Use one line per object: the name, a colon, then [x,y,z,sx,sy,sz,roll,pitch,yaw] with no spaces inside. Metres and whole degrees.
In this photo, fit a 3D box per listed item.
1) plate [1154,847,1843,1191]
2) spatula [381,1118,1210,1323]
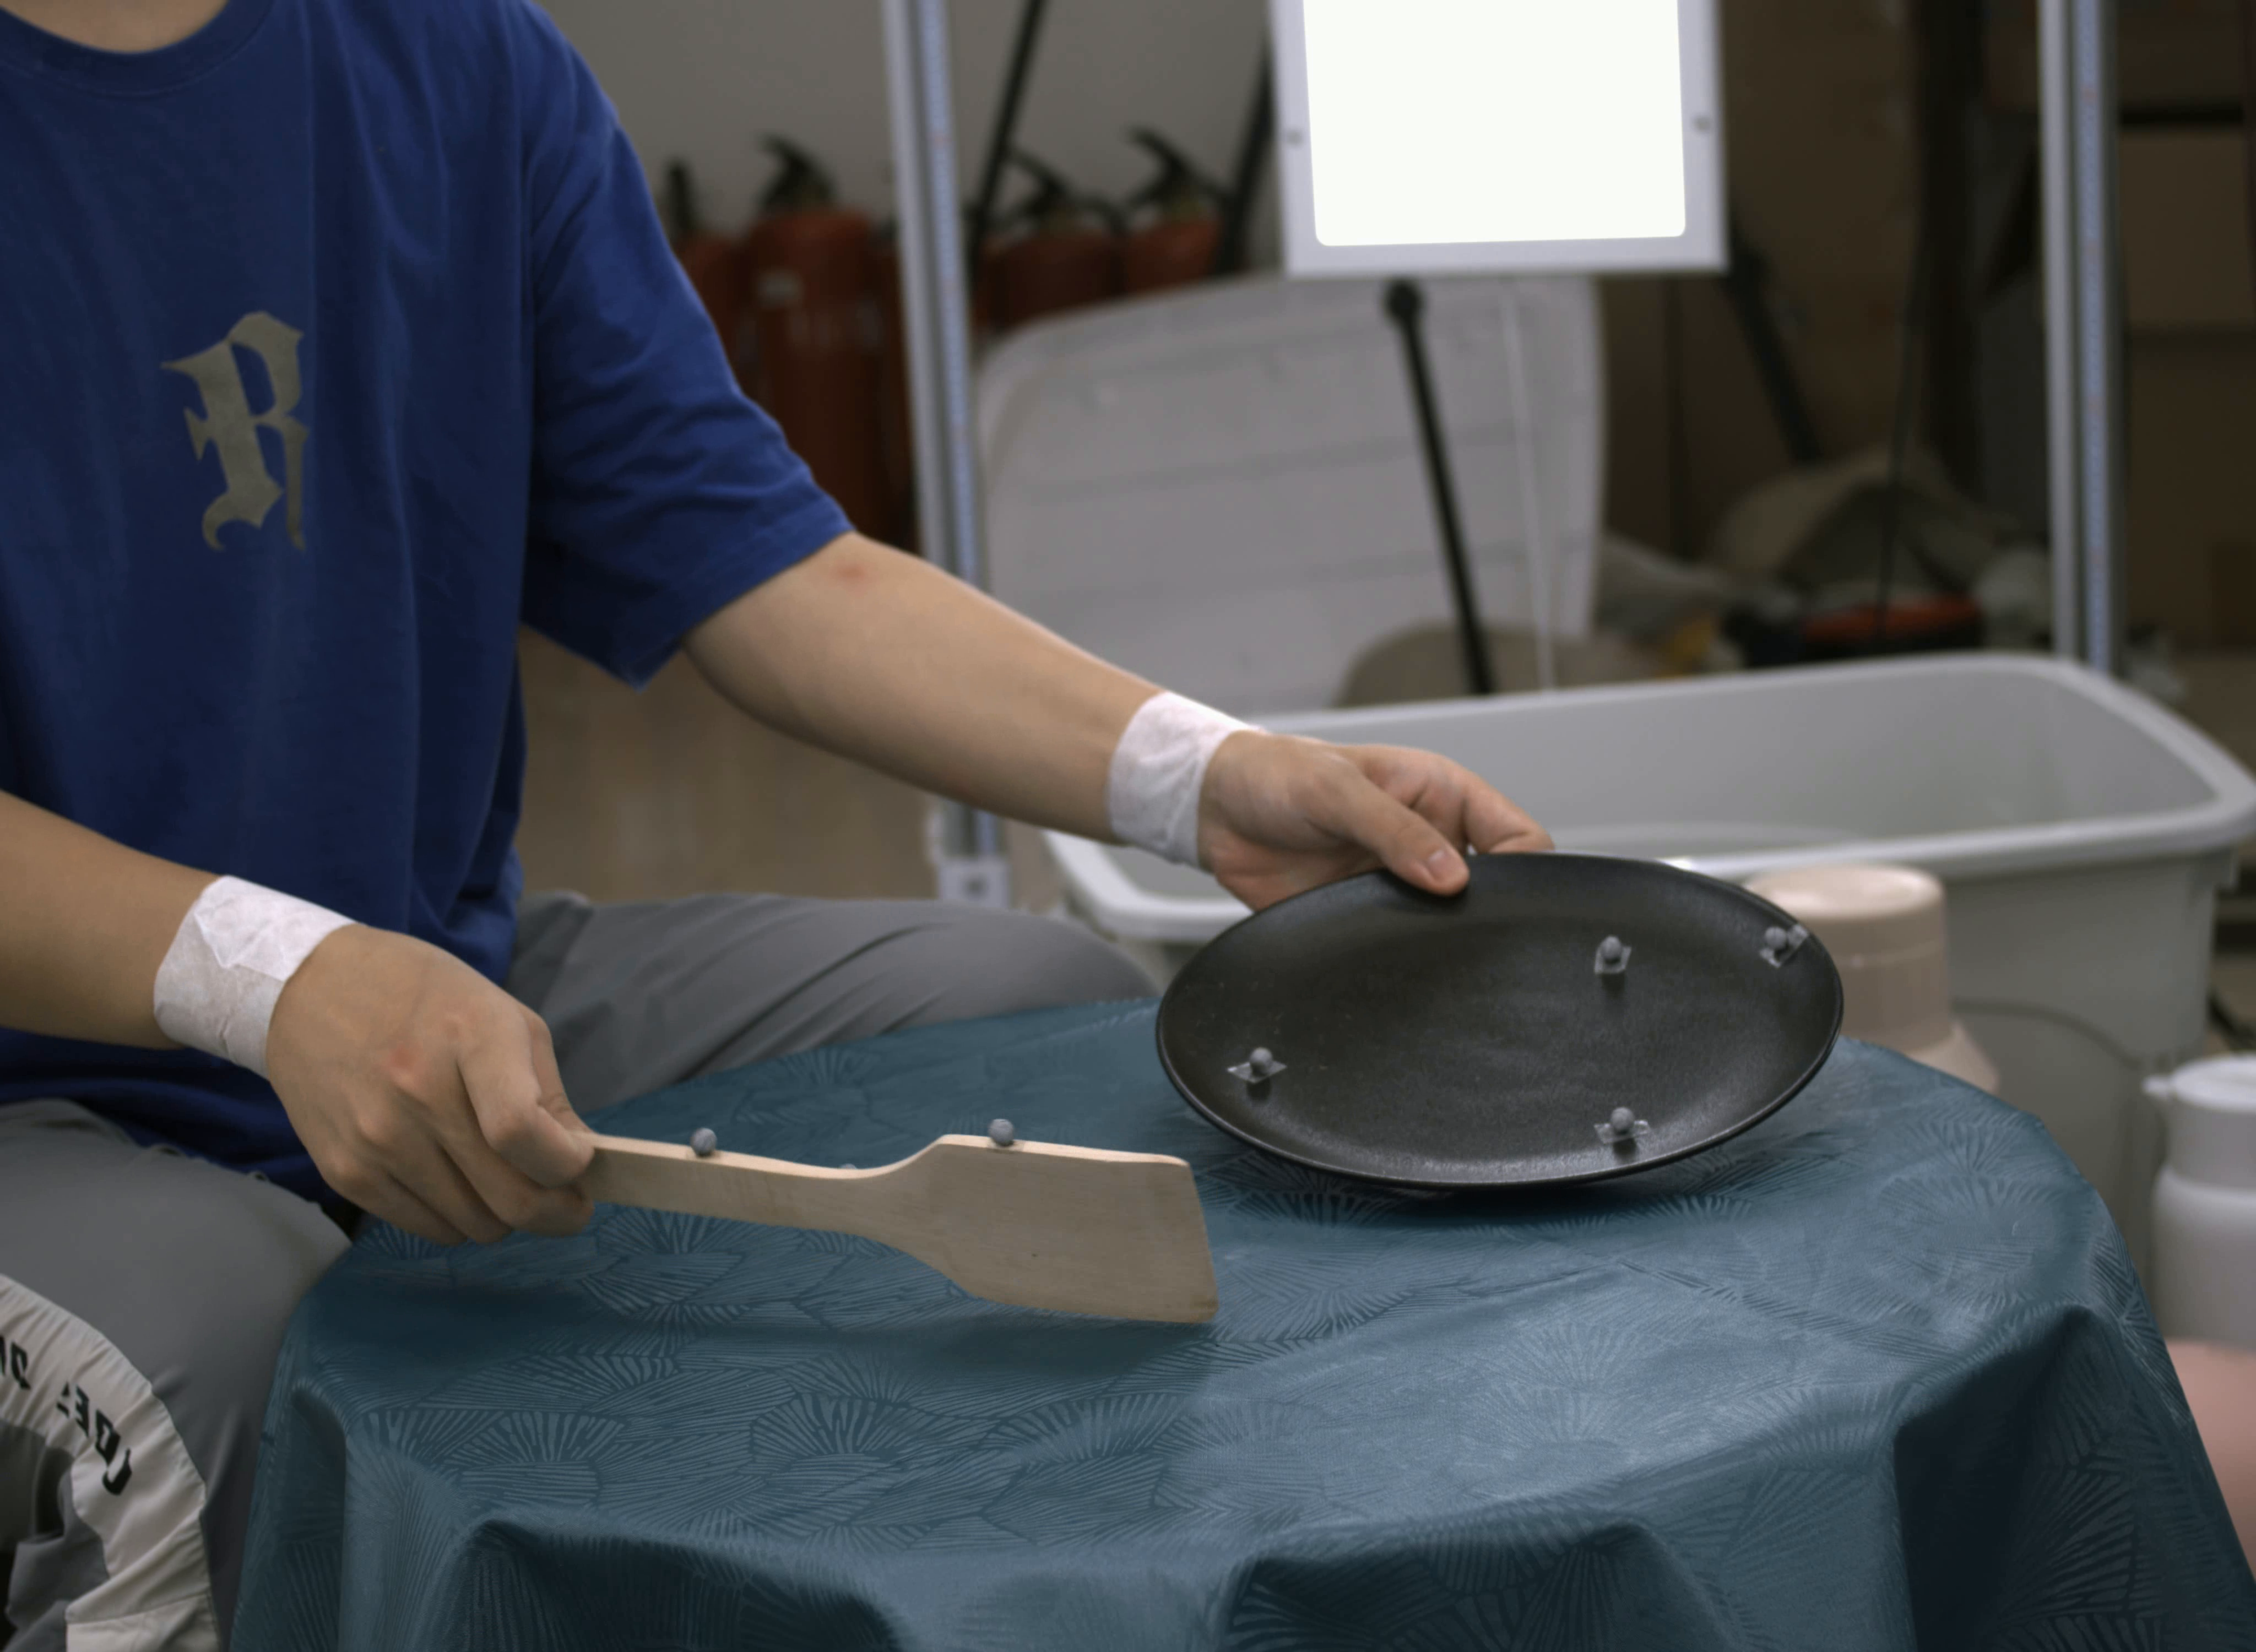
plate: [0.131,0.073,1.937,0.244,0.023,0.244,-6,27,2]
spatula: [-0.114,0.119,1.793,0.297,0.072,0.010,5,41,23]
